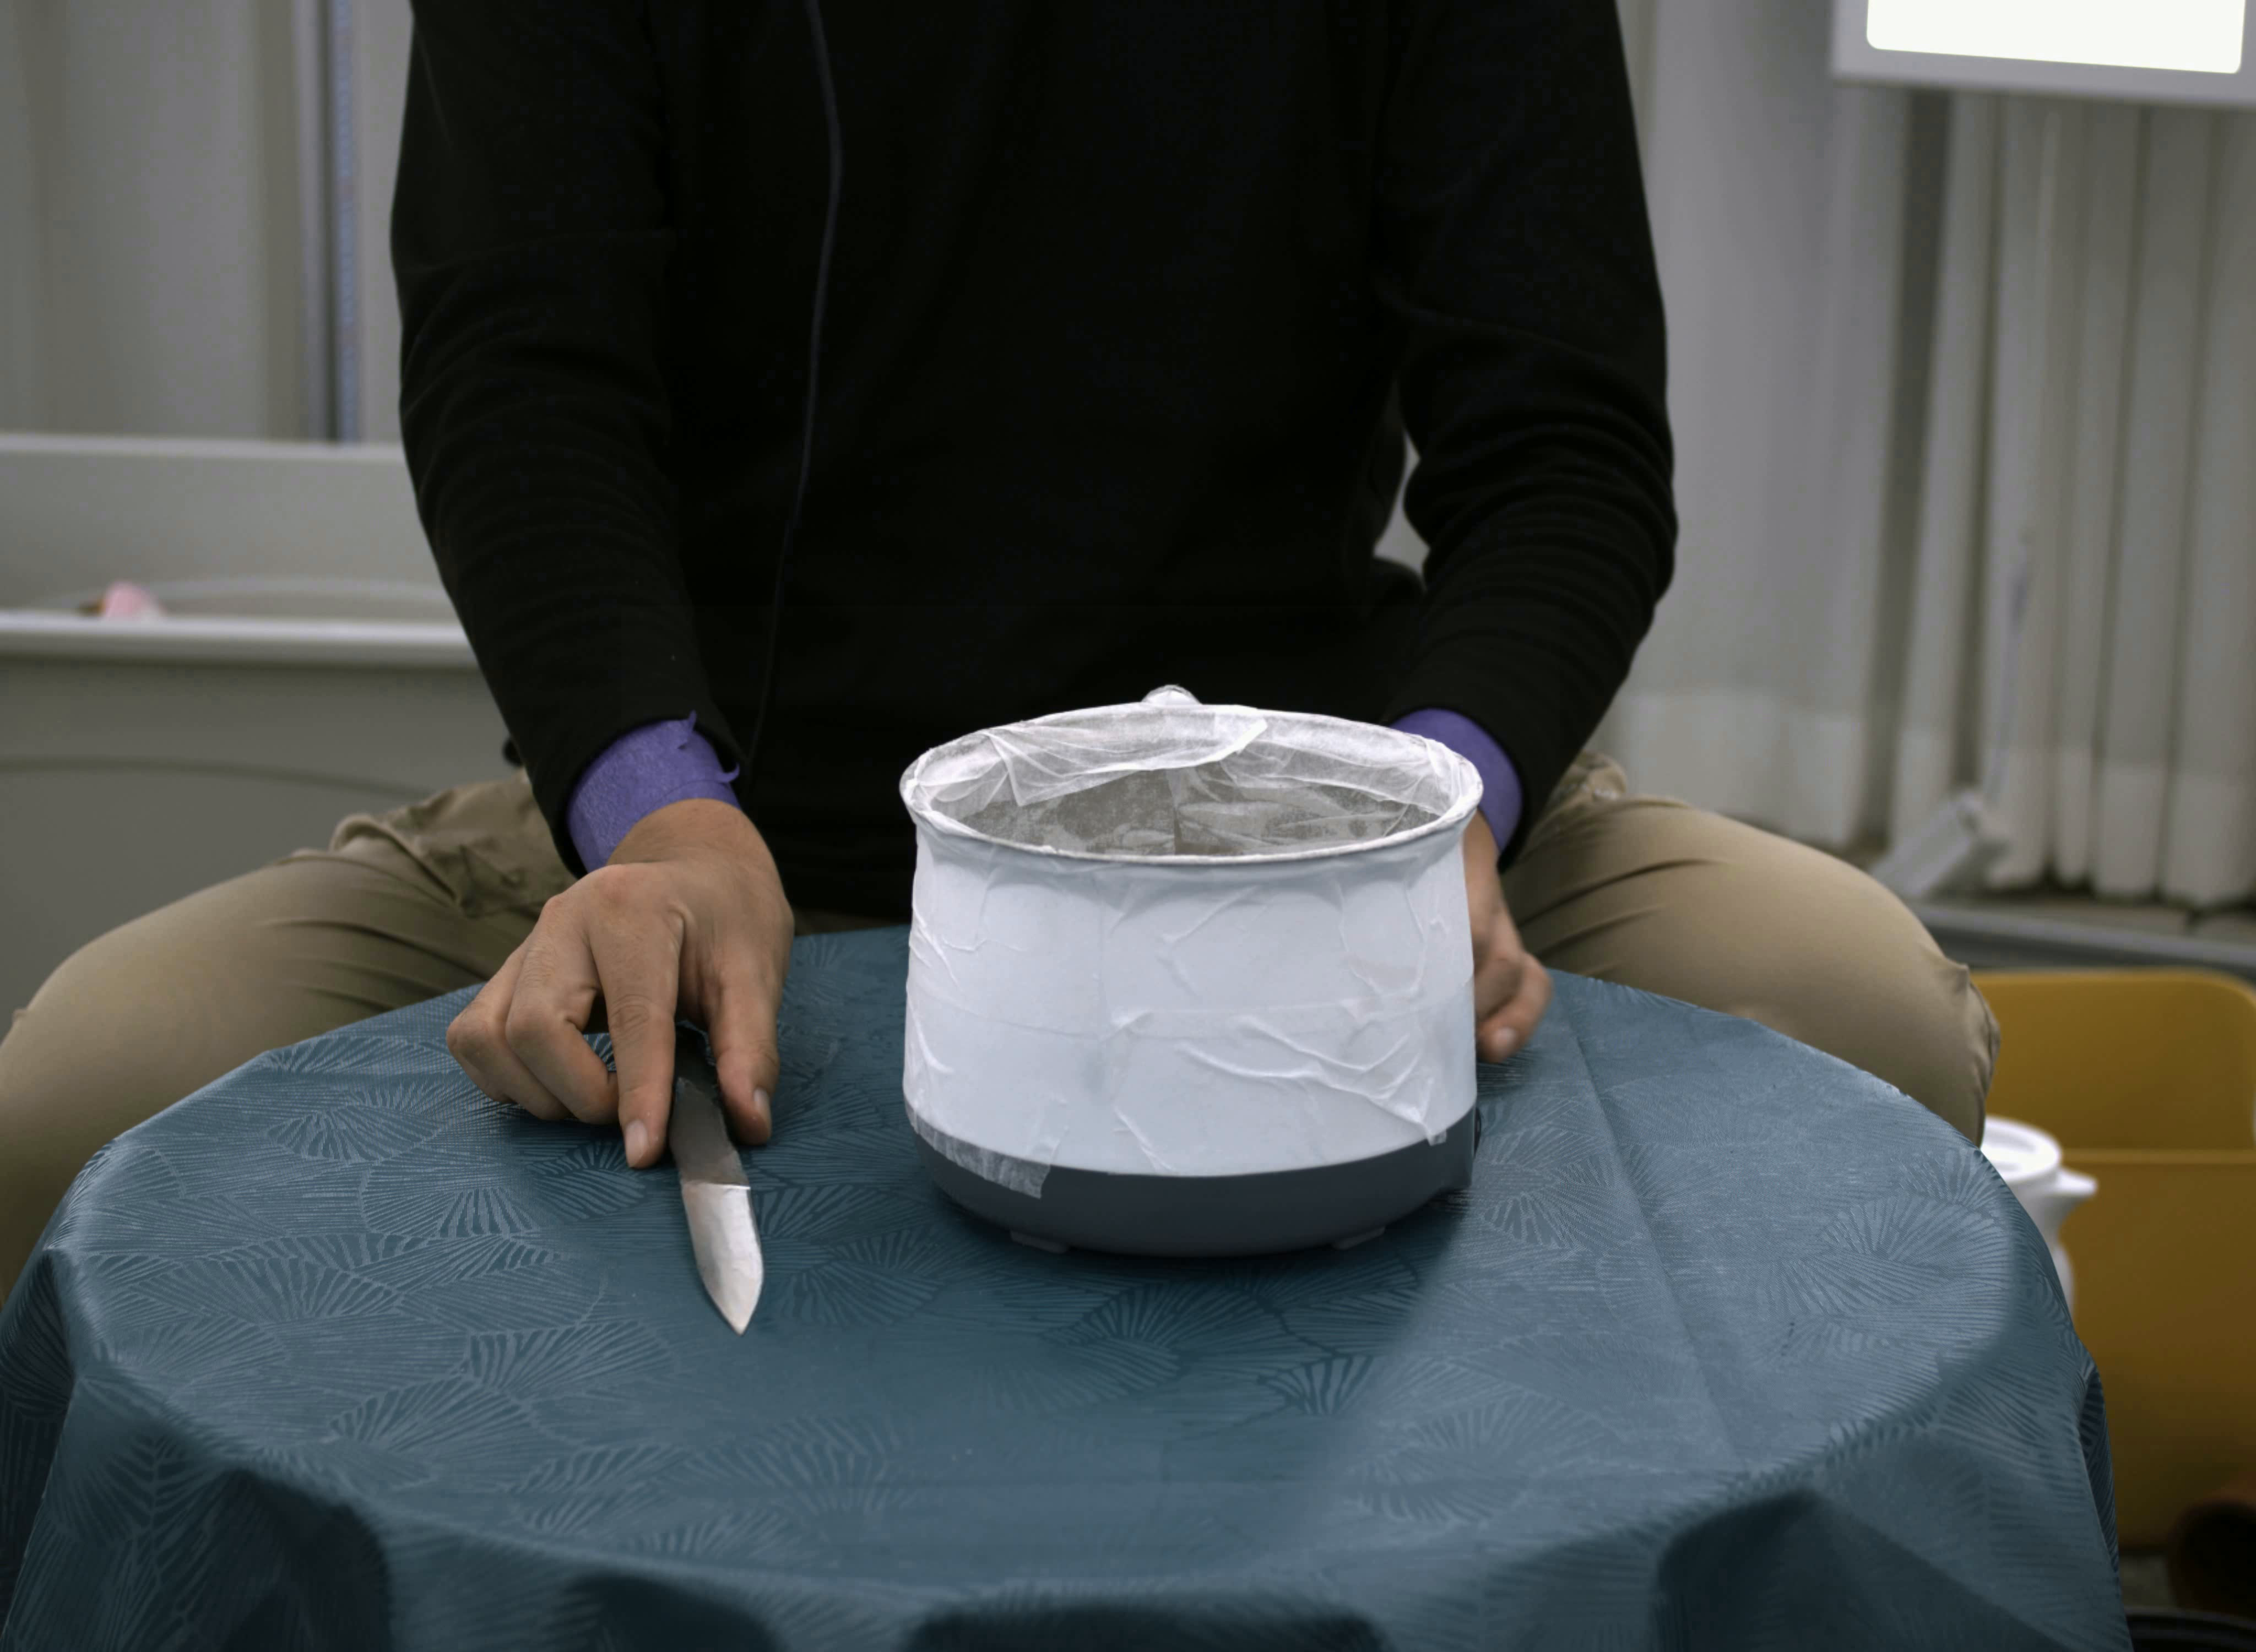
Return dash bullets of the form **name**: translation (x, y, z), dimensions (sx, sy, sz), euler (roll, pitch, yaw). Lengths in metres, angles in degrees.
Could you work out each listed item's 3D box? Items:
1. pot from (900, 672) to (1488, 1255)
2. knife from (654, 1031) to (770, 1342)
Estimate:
- **pot**: translation (0.017, 0.037, 1.629), dimensions (0.178, 0.138, 0.232), euler (0, 17, -5)
- **knife**: translation (-0.128, 0.109, 1.610), dimensions (0.024, 0.016, 0.236), euler (11, 16, -13)
